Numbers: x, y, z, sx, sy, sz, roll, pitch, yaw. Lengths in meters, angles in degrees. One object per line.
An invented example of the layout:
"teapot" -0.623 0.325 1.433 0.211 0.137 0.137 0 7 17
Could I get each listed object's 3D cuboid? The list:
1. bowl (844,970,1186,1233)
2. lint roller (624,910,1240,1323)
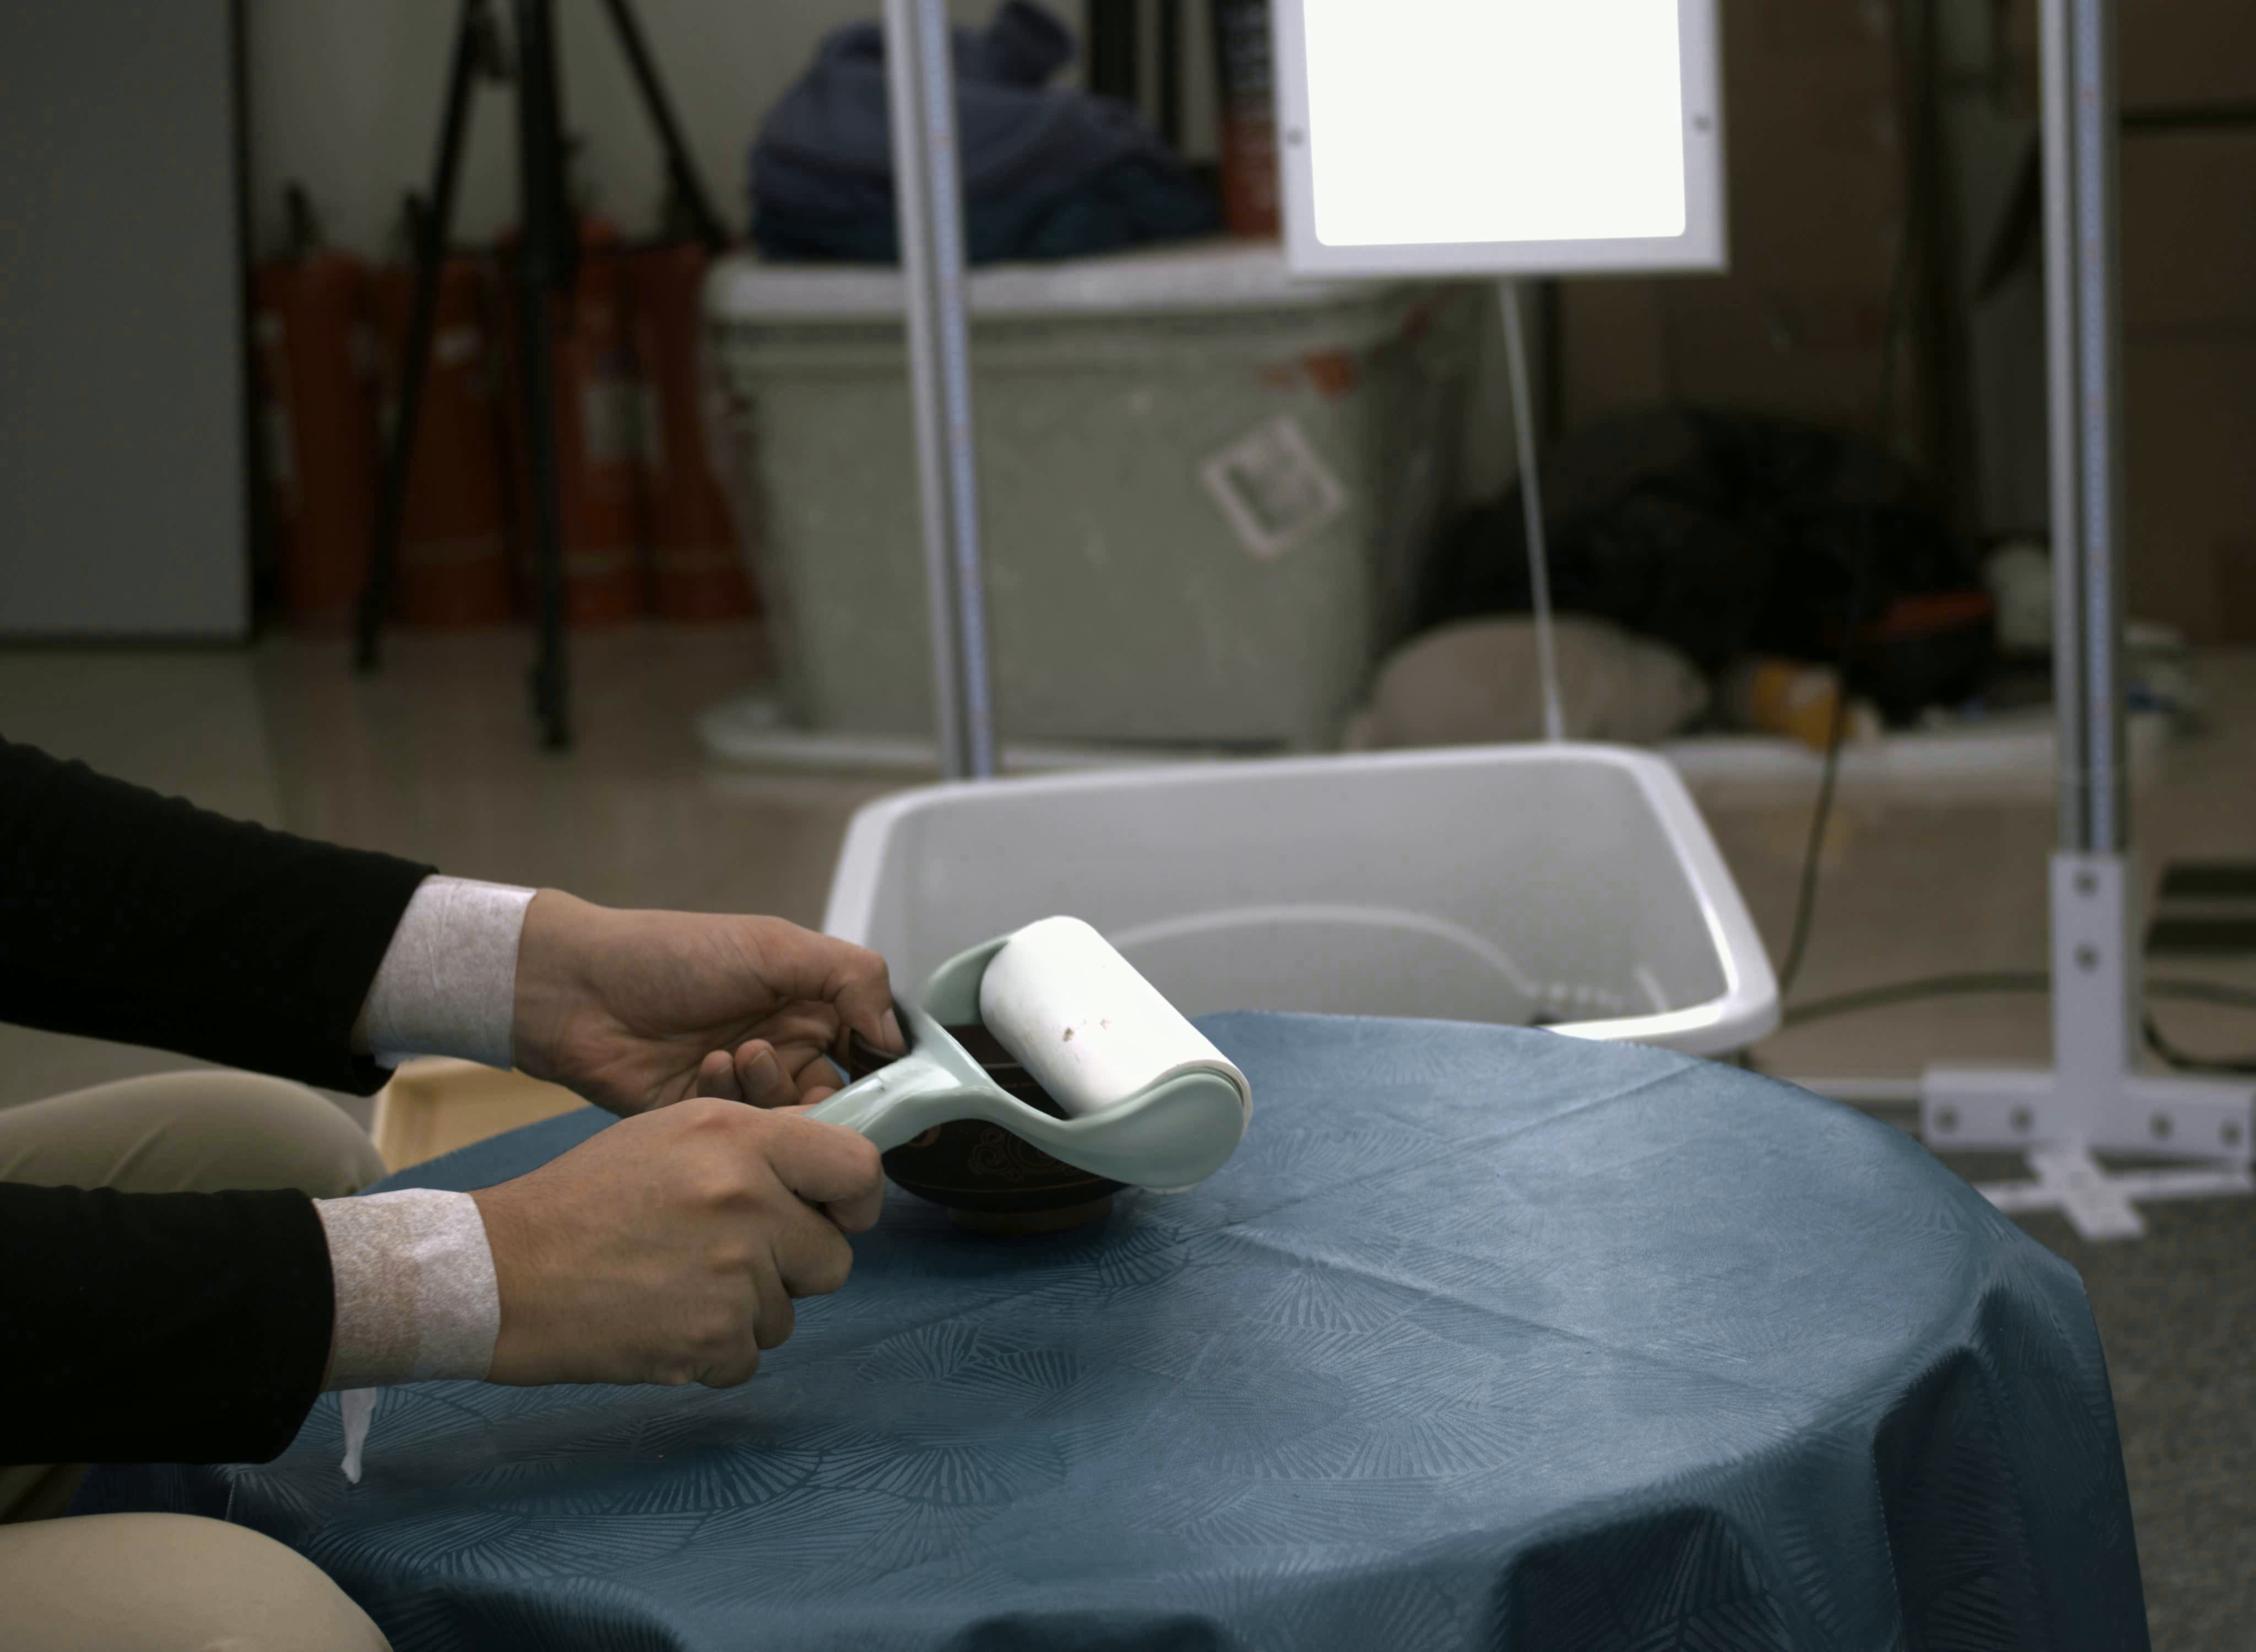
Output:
"bowl" -0.036 0.097 1.880 0.118 0.070 0.118 -6 15 0
"lint roller" -0.073 0.096 1.727 0.194 0.048 0.118 -23 35 -17
